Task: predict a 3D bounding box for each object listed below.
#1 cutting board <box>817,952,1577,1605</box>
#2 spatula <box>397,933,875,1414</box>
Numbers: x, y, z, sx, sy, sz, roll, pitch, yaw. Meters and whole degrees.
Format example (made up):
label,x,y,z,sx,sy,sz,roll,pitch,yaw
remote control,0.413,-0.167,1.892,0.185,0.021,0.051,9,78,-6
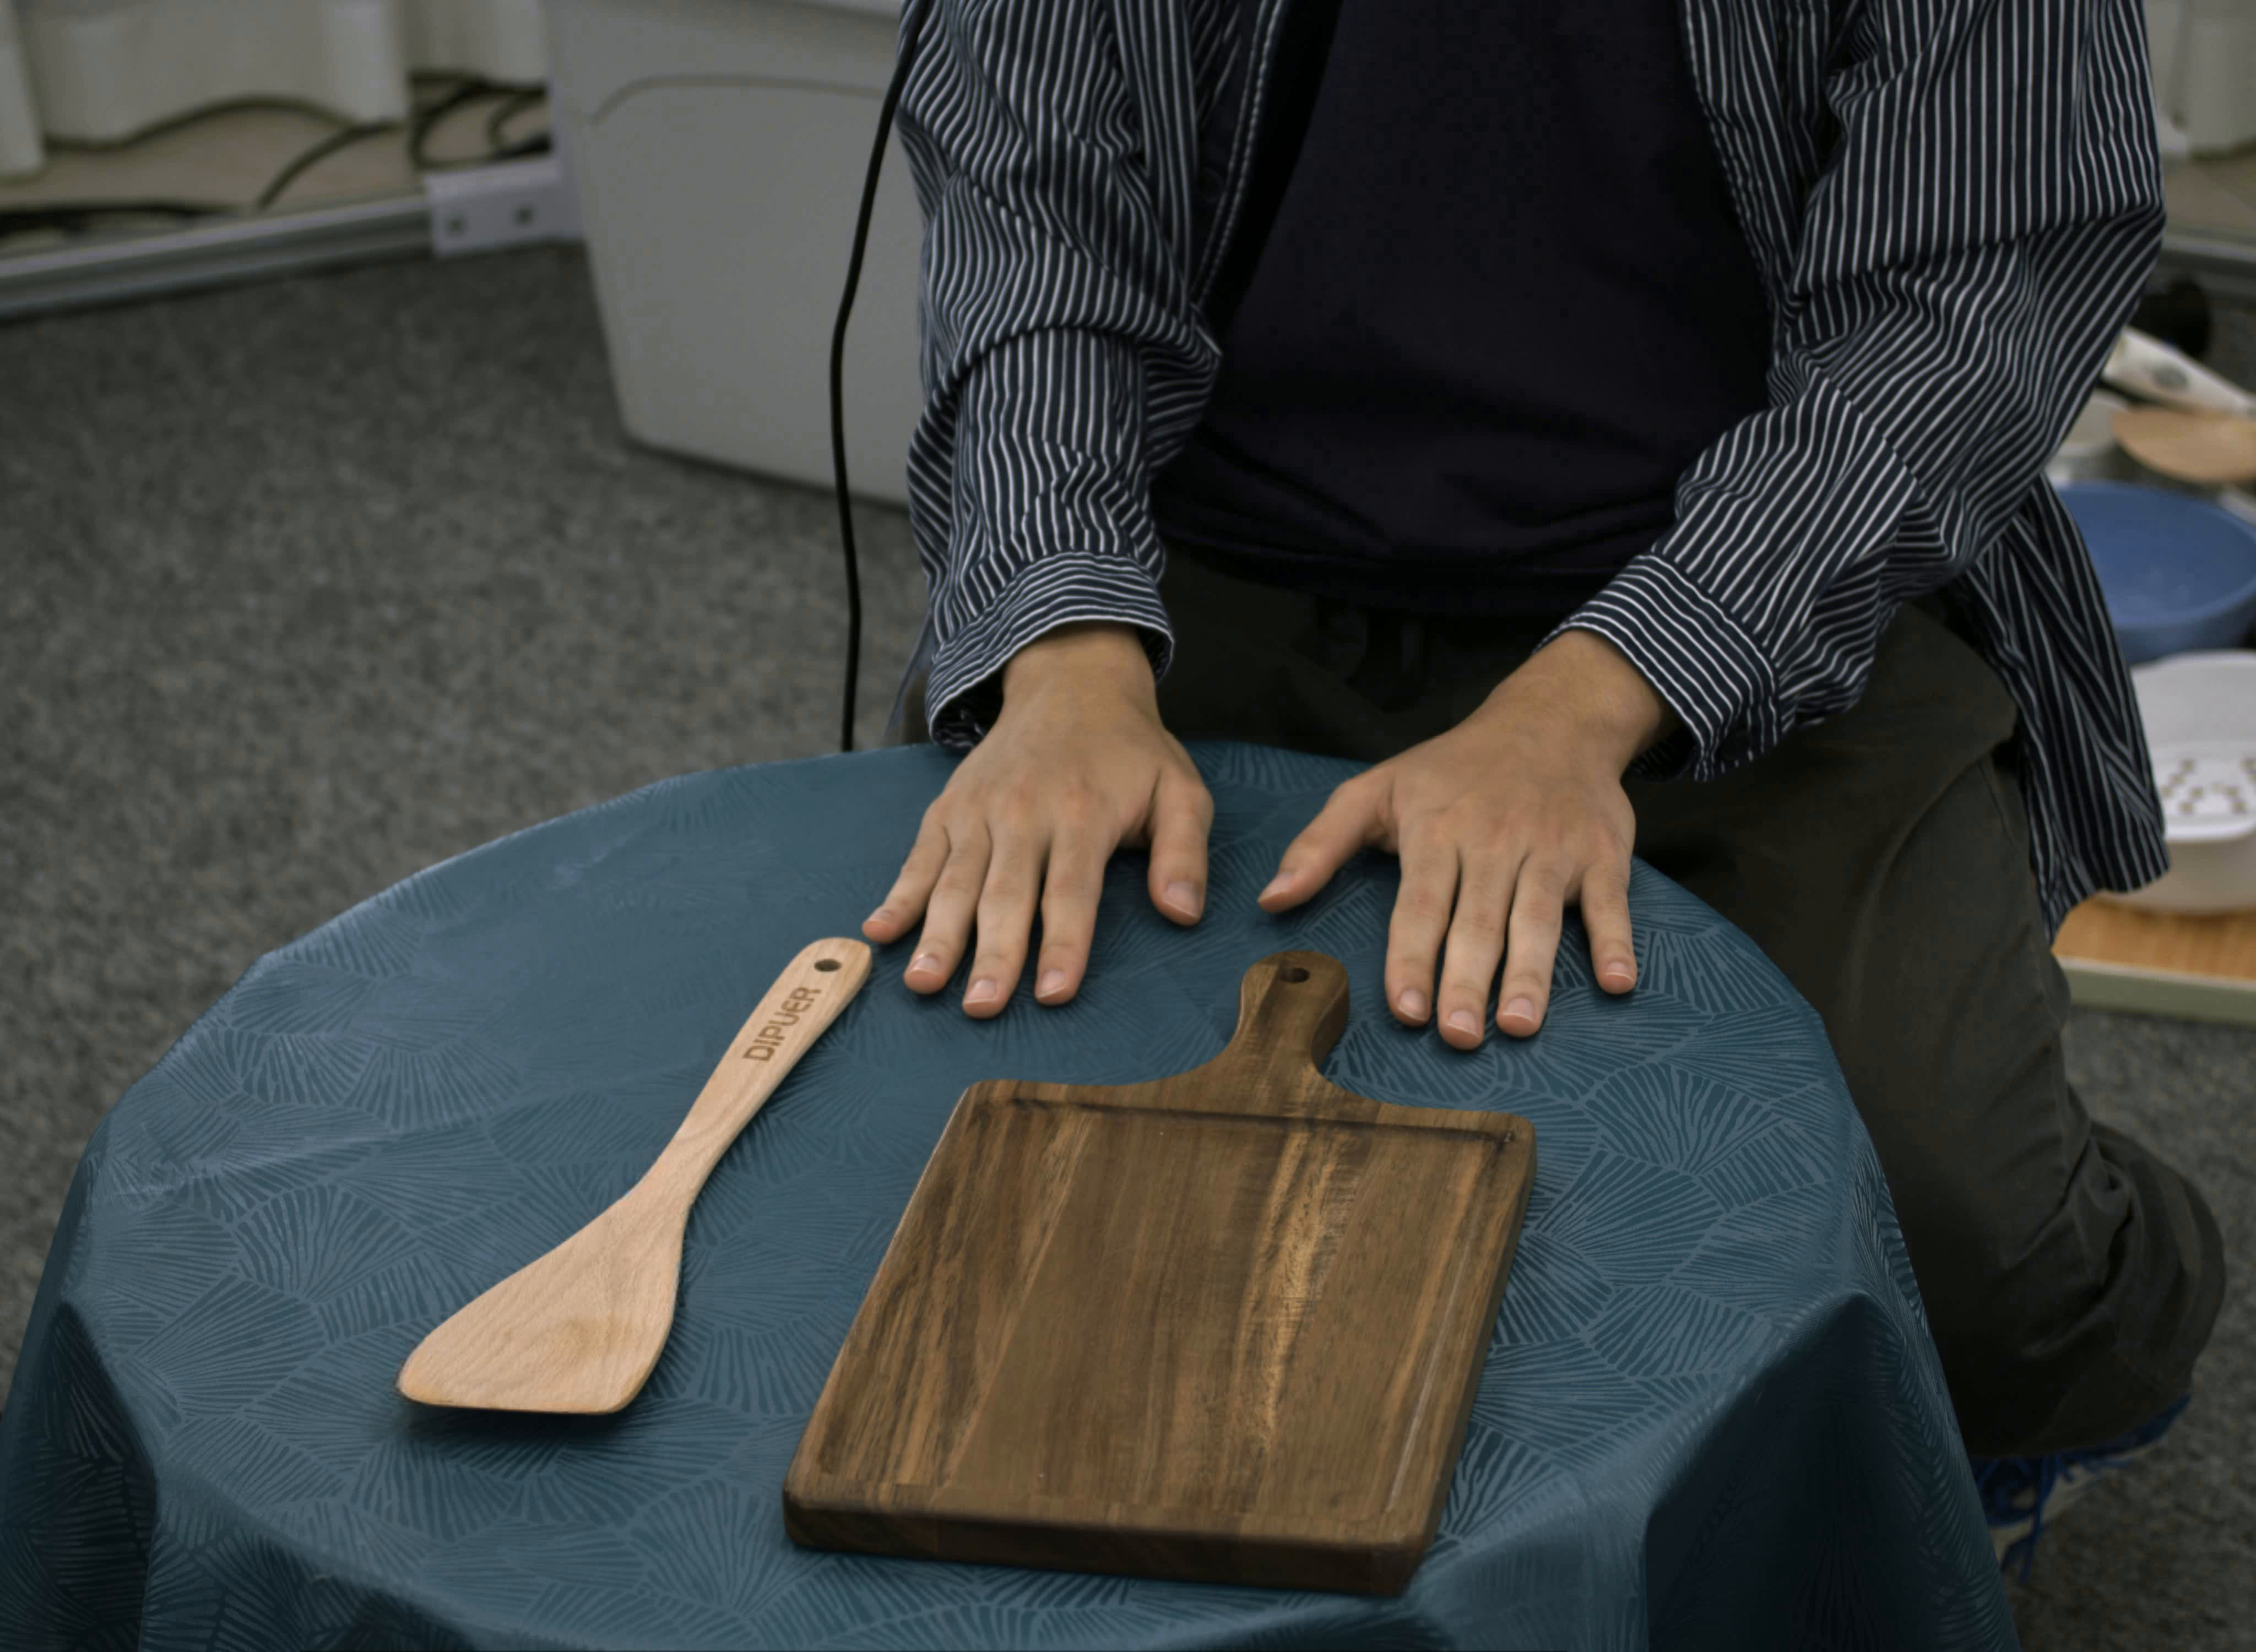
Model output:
label,x,y,z,sx,sy,sz,roll,pitch,yaw
cutting board,0.037,0.134,1.805,0.200,0.023,0.358,4,28,12
spatula,-0.146,0.112,1.871,0.079,0.016,0.333,6,29,16
